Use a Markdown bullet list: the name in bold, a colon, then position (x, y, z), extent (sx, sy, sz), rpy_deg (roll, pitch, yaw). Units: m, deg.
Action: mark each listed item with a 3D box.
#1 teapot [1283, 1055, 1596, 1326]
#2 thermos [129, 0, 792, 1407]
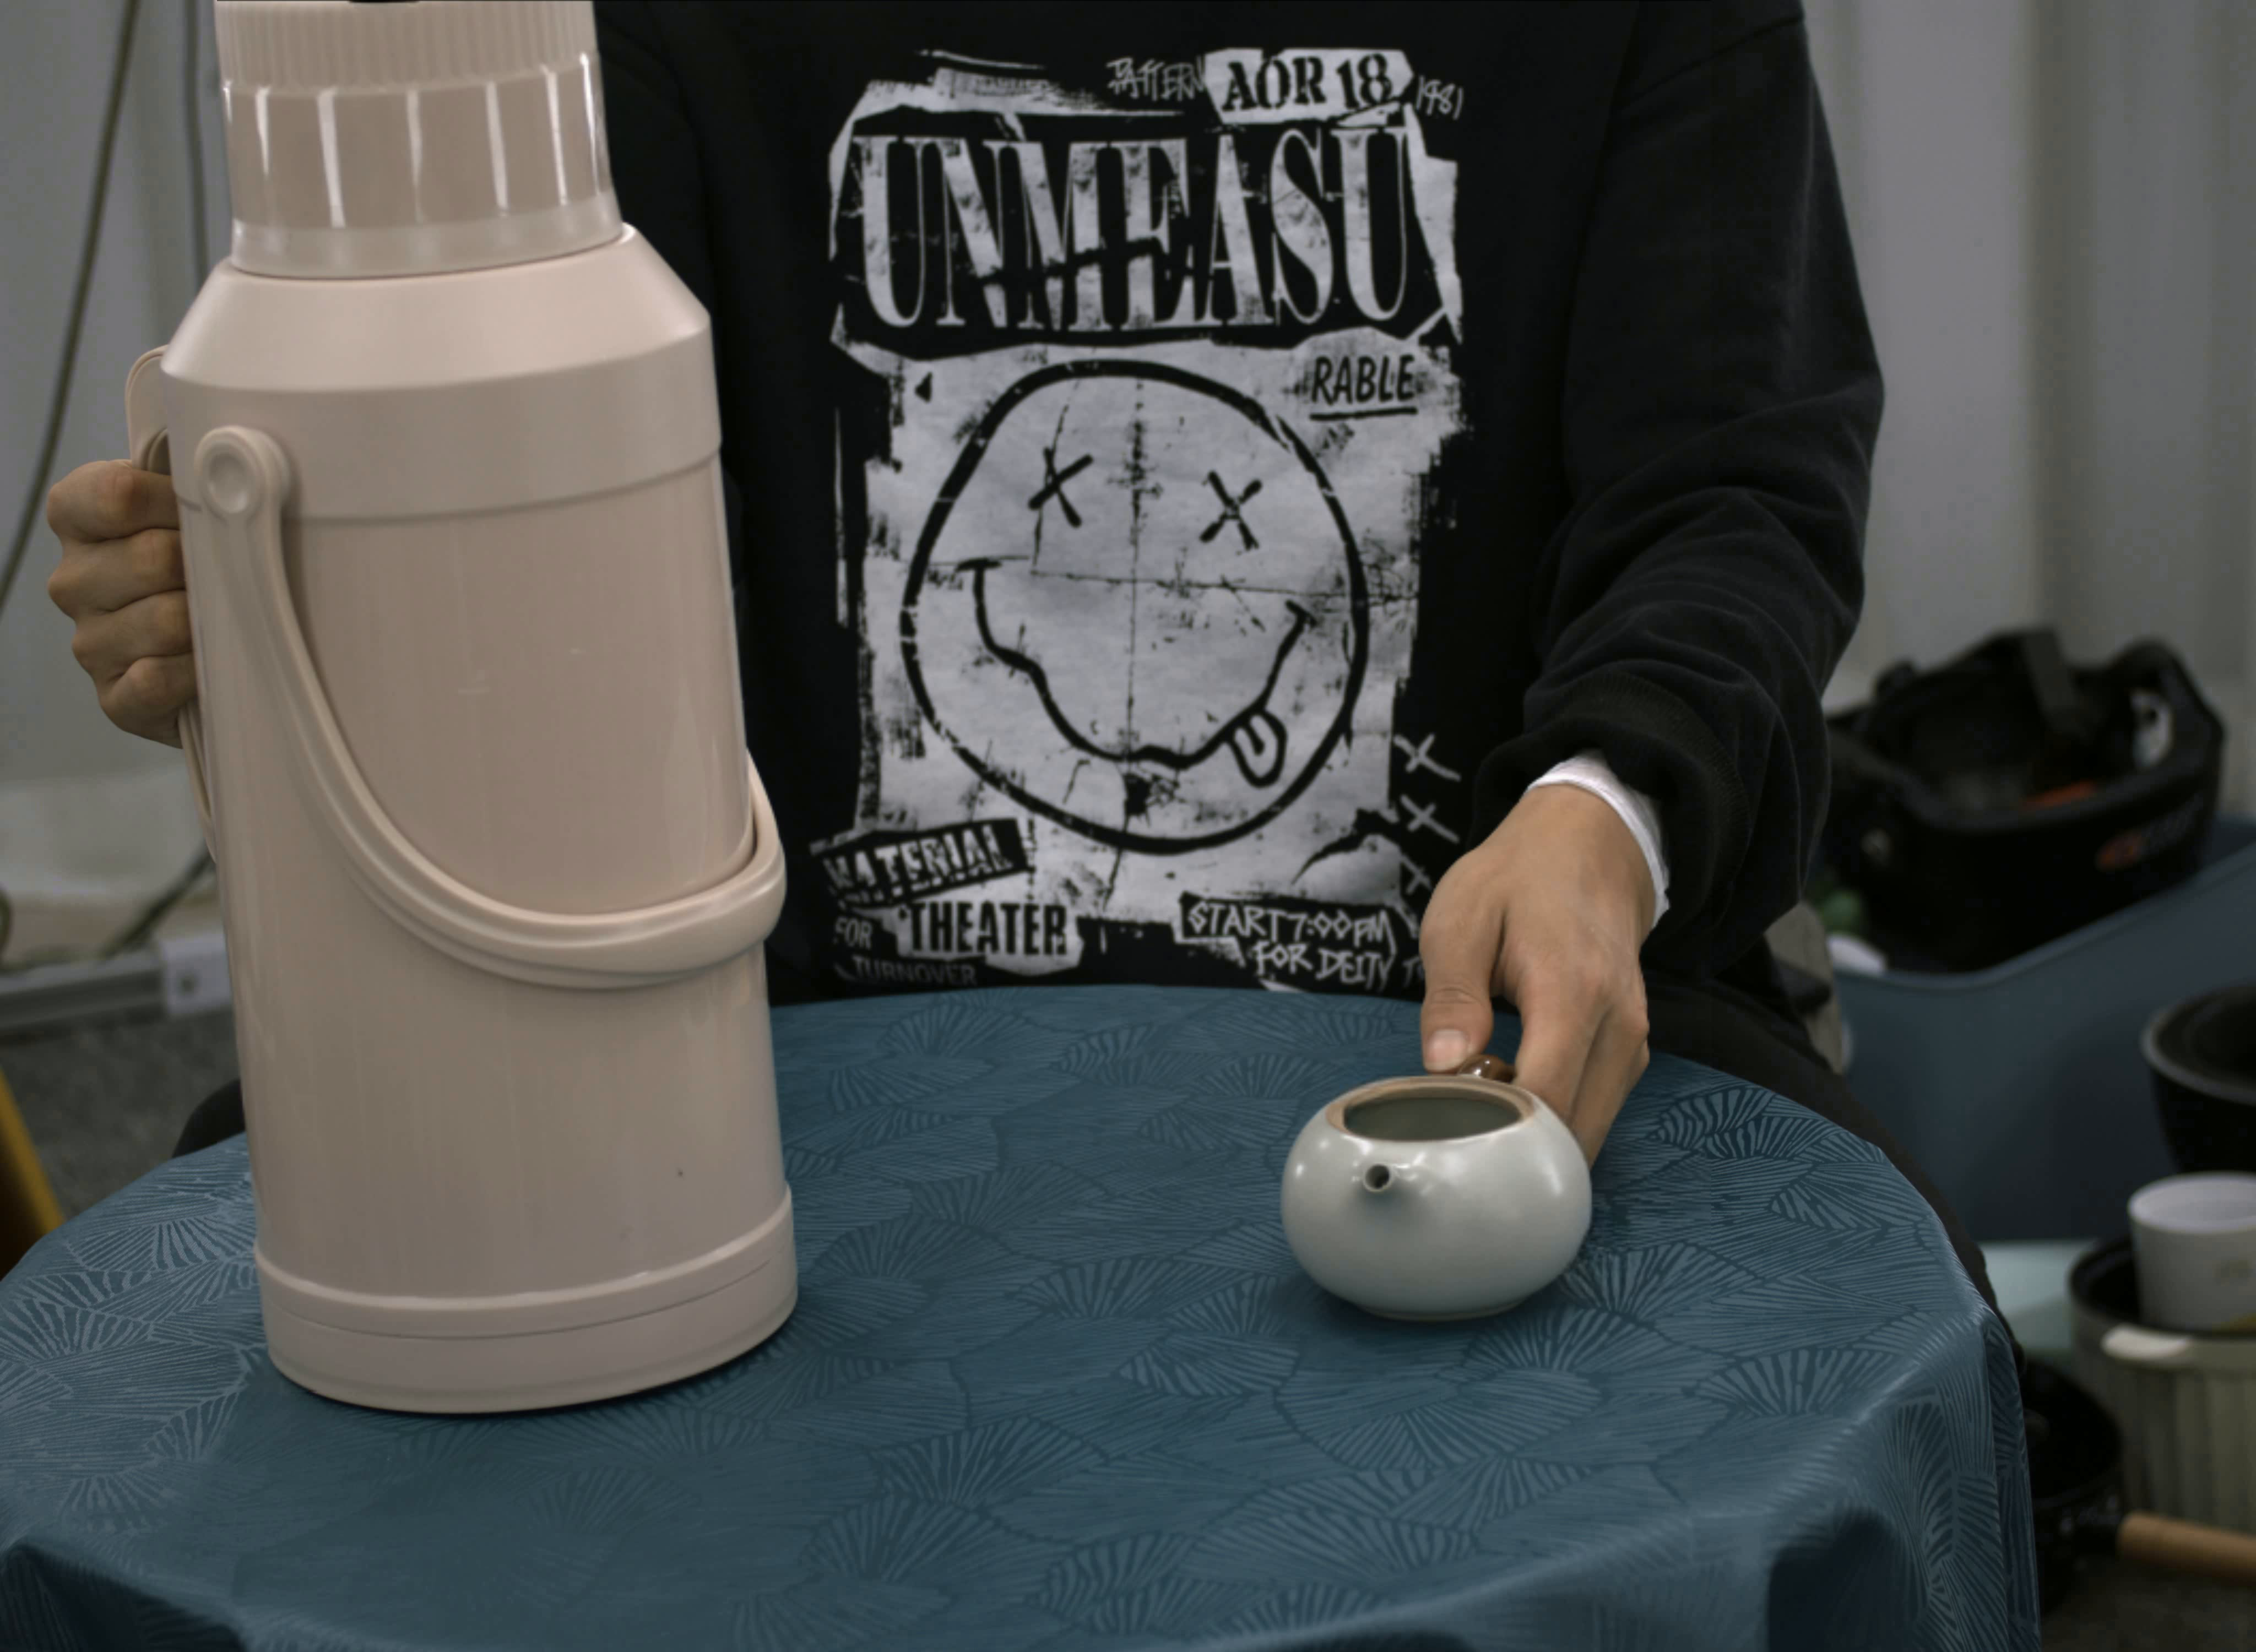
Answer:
- **teapot**: position (0.094, 0.107, 1.610), extent (0.092, 0.059, 0.128), rpy_deg (-2, 15, 20)
- **thermos**: position (-0.201, -0.047, 1.590), extent (0.208, 0.405, 0.175), rpy_deg (6, 17, 34)
